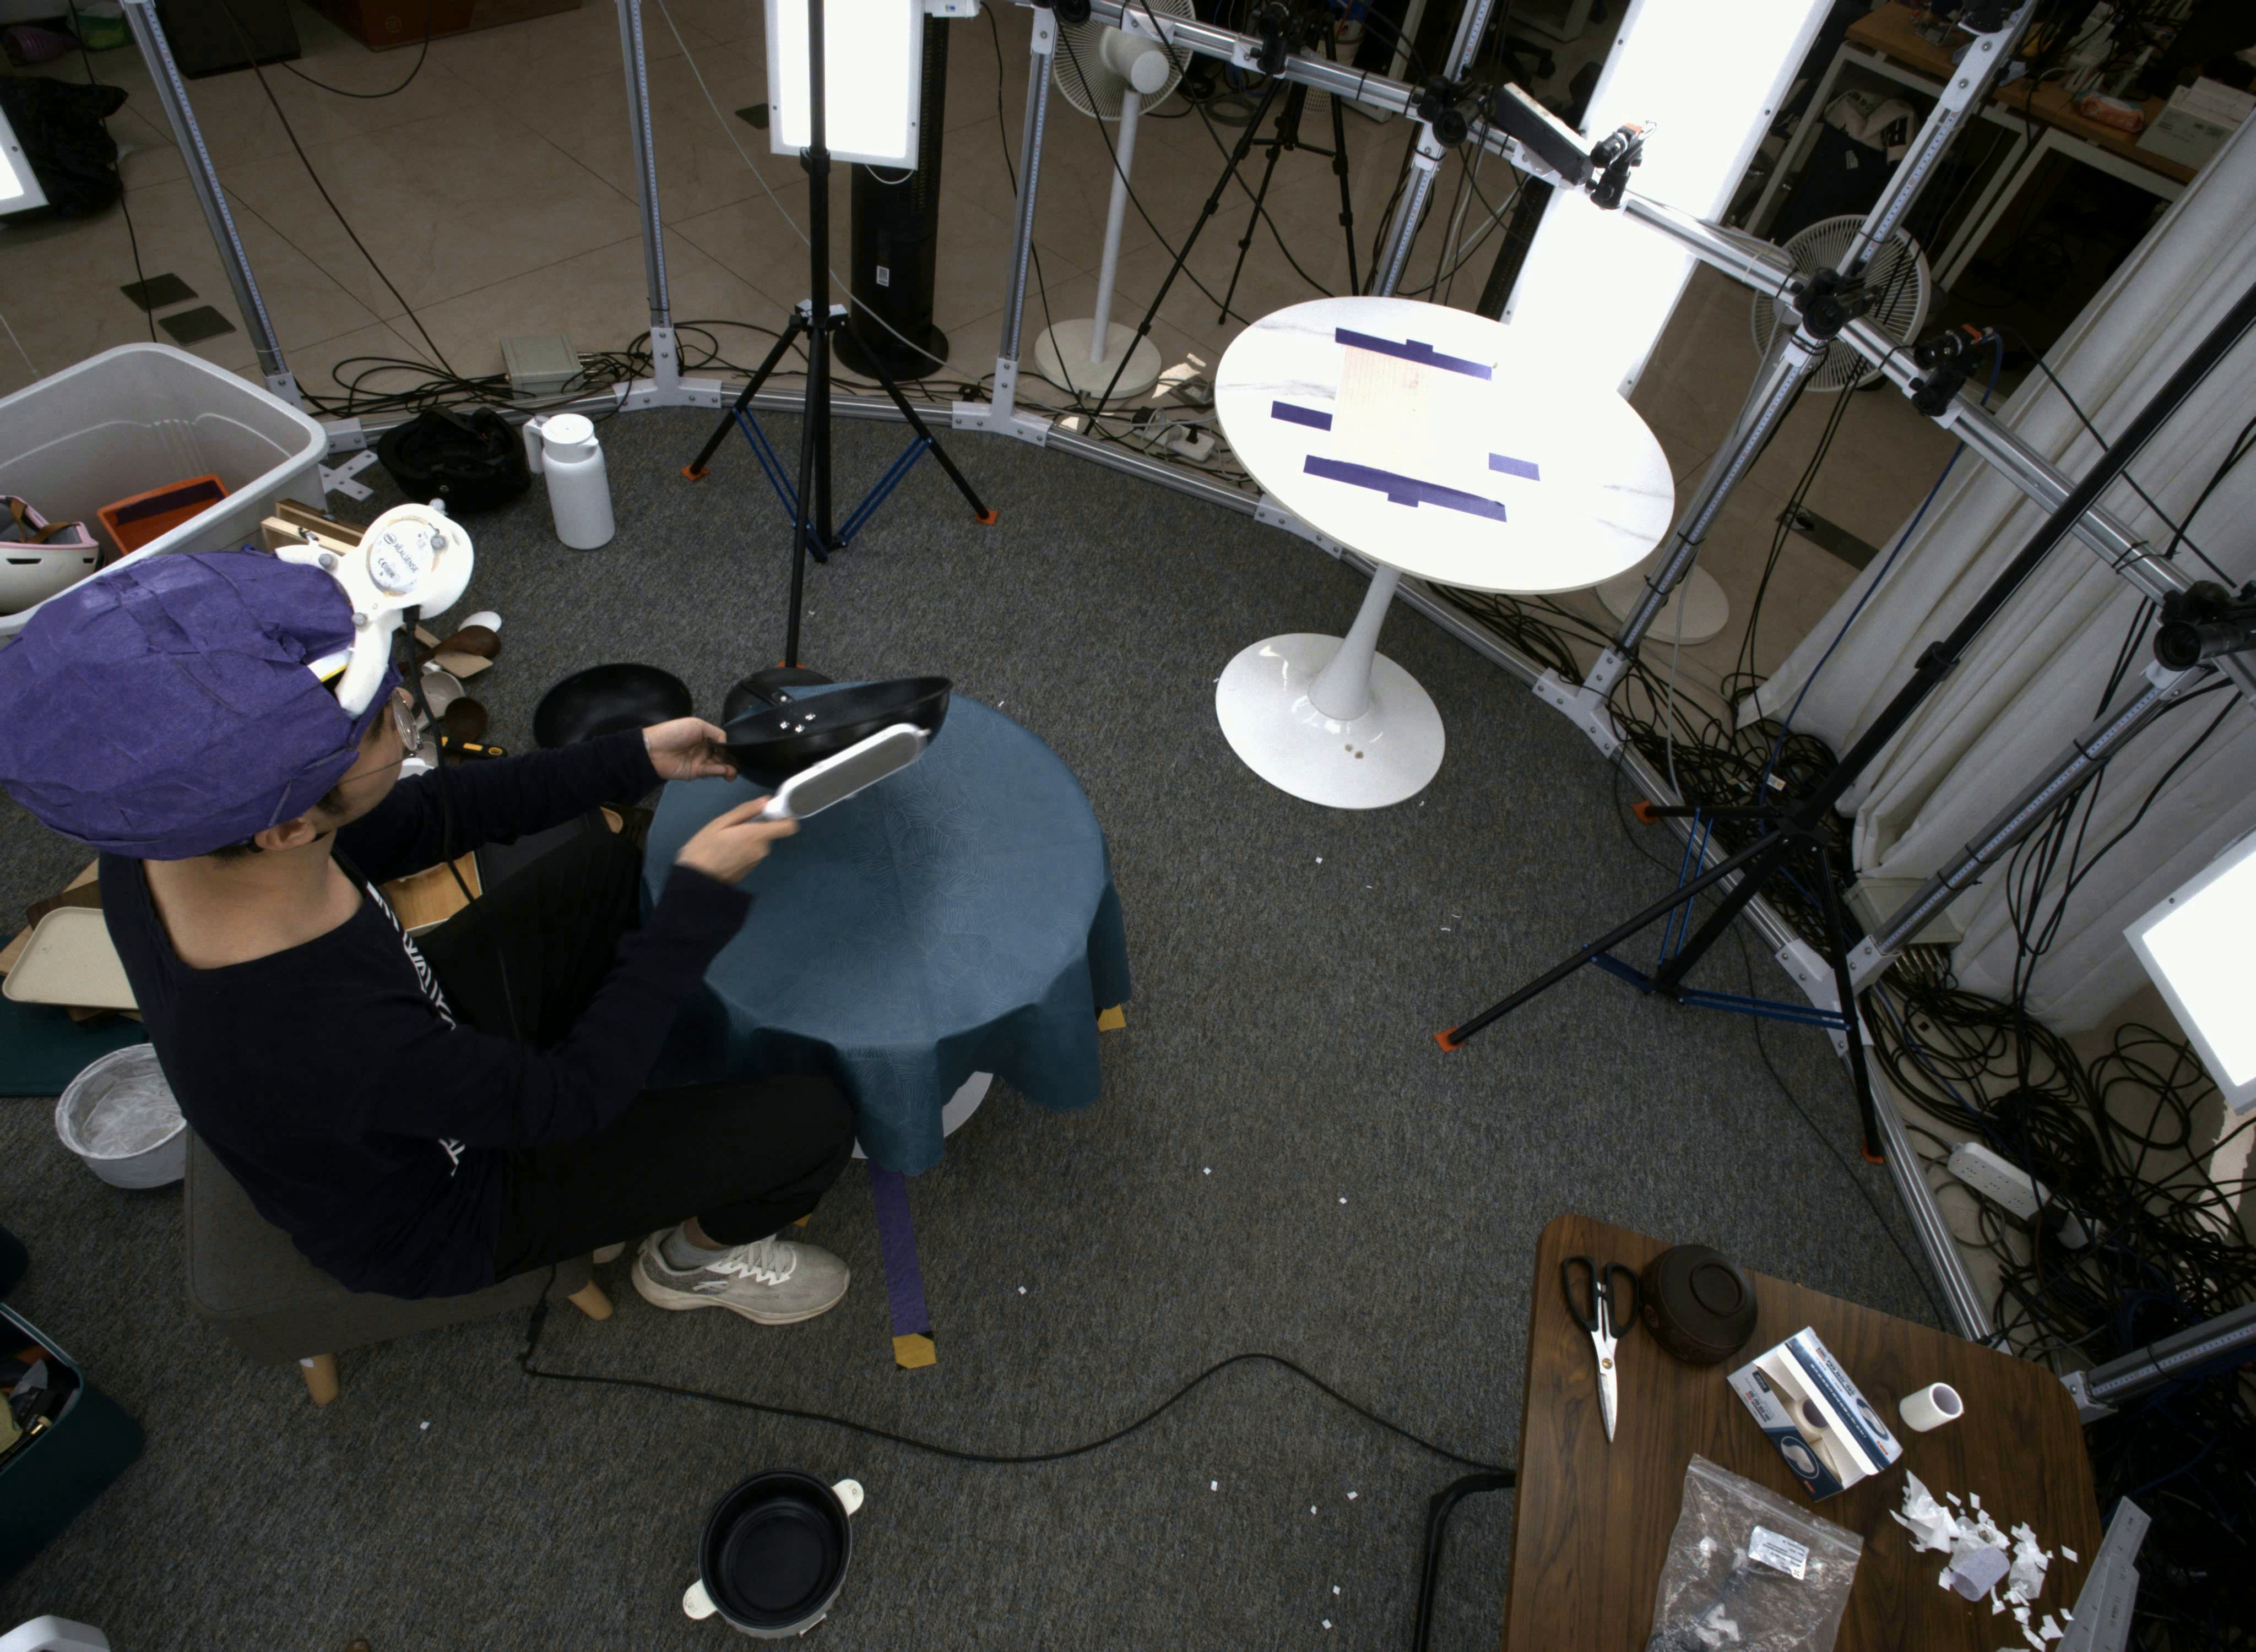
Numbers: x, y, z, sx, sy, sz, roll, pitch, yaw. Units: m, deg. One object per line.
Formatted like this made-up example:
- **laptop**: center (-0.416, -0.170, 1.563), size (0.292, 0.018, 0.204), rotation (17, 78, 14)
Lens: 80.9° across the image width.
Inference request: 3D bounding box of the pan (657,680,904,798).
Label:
- **pan**: center (-0.470, -0.120, 1.667), size (0.312, 0.115, 0.461), rotation (-22, 18, -33)

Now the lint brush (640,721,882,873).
- **lint brush**: center (-0.416, -0.035, 1.472), size (0.309, 0.062, 0.020), rotation (-32, 57, -17)
